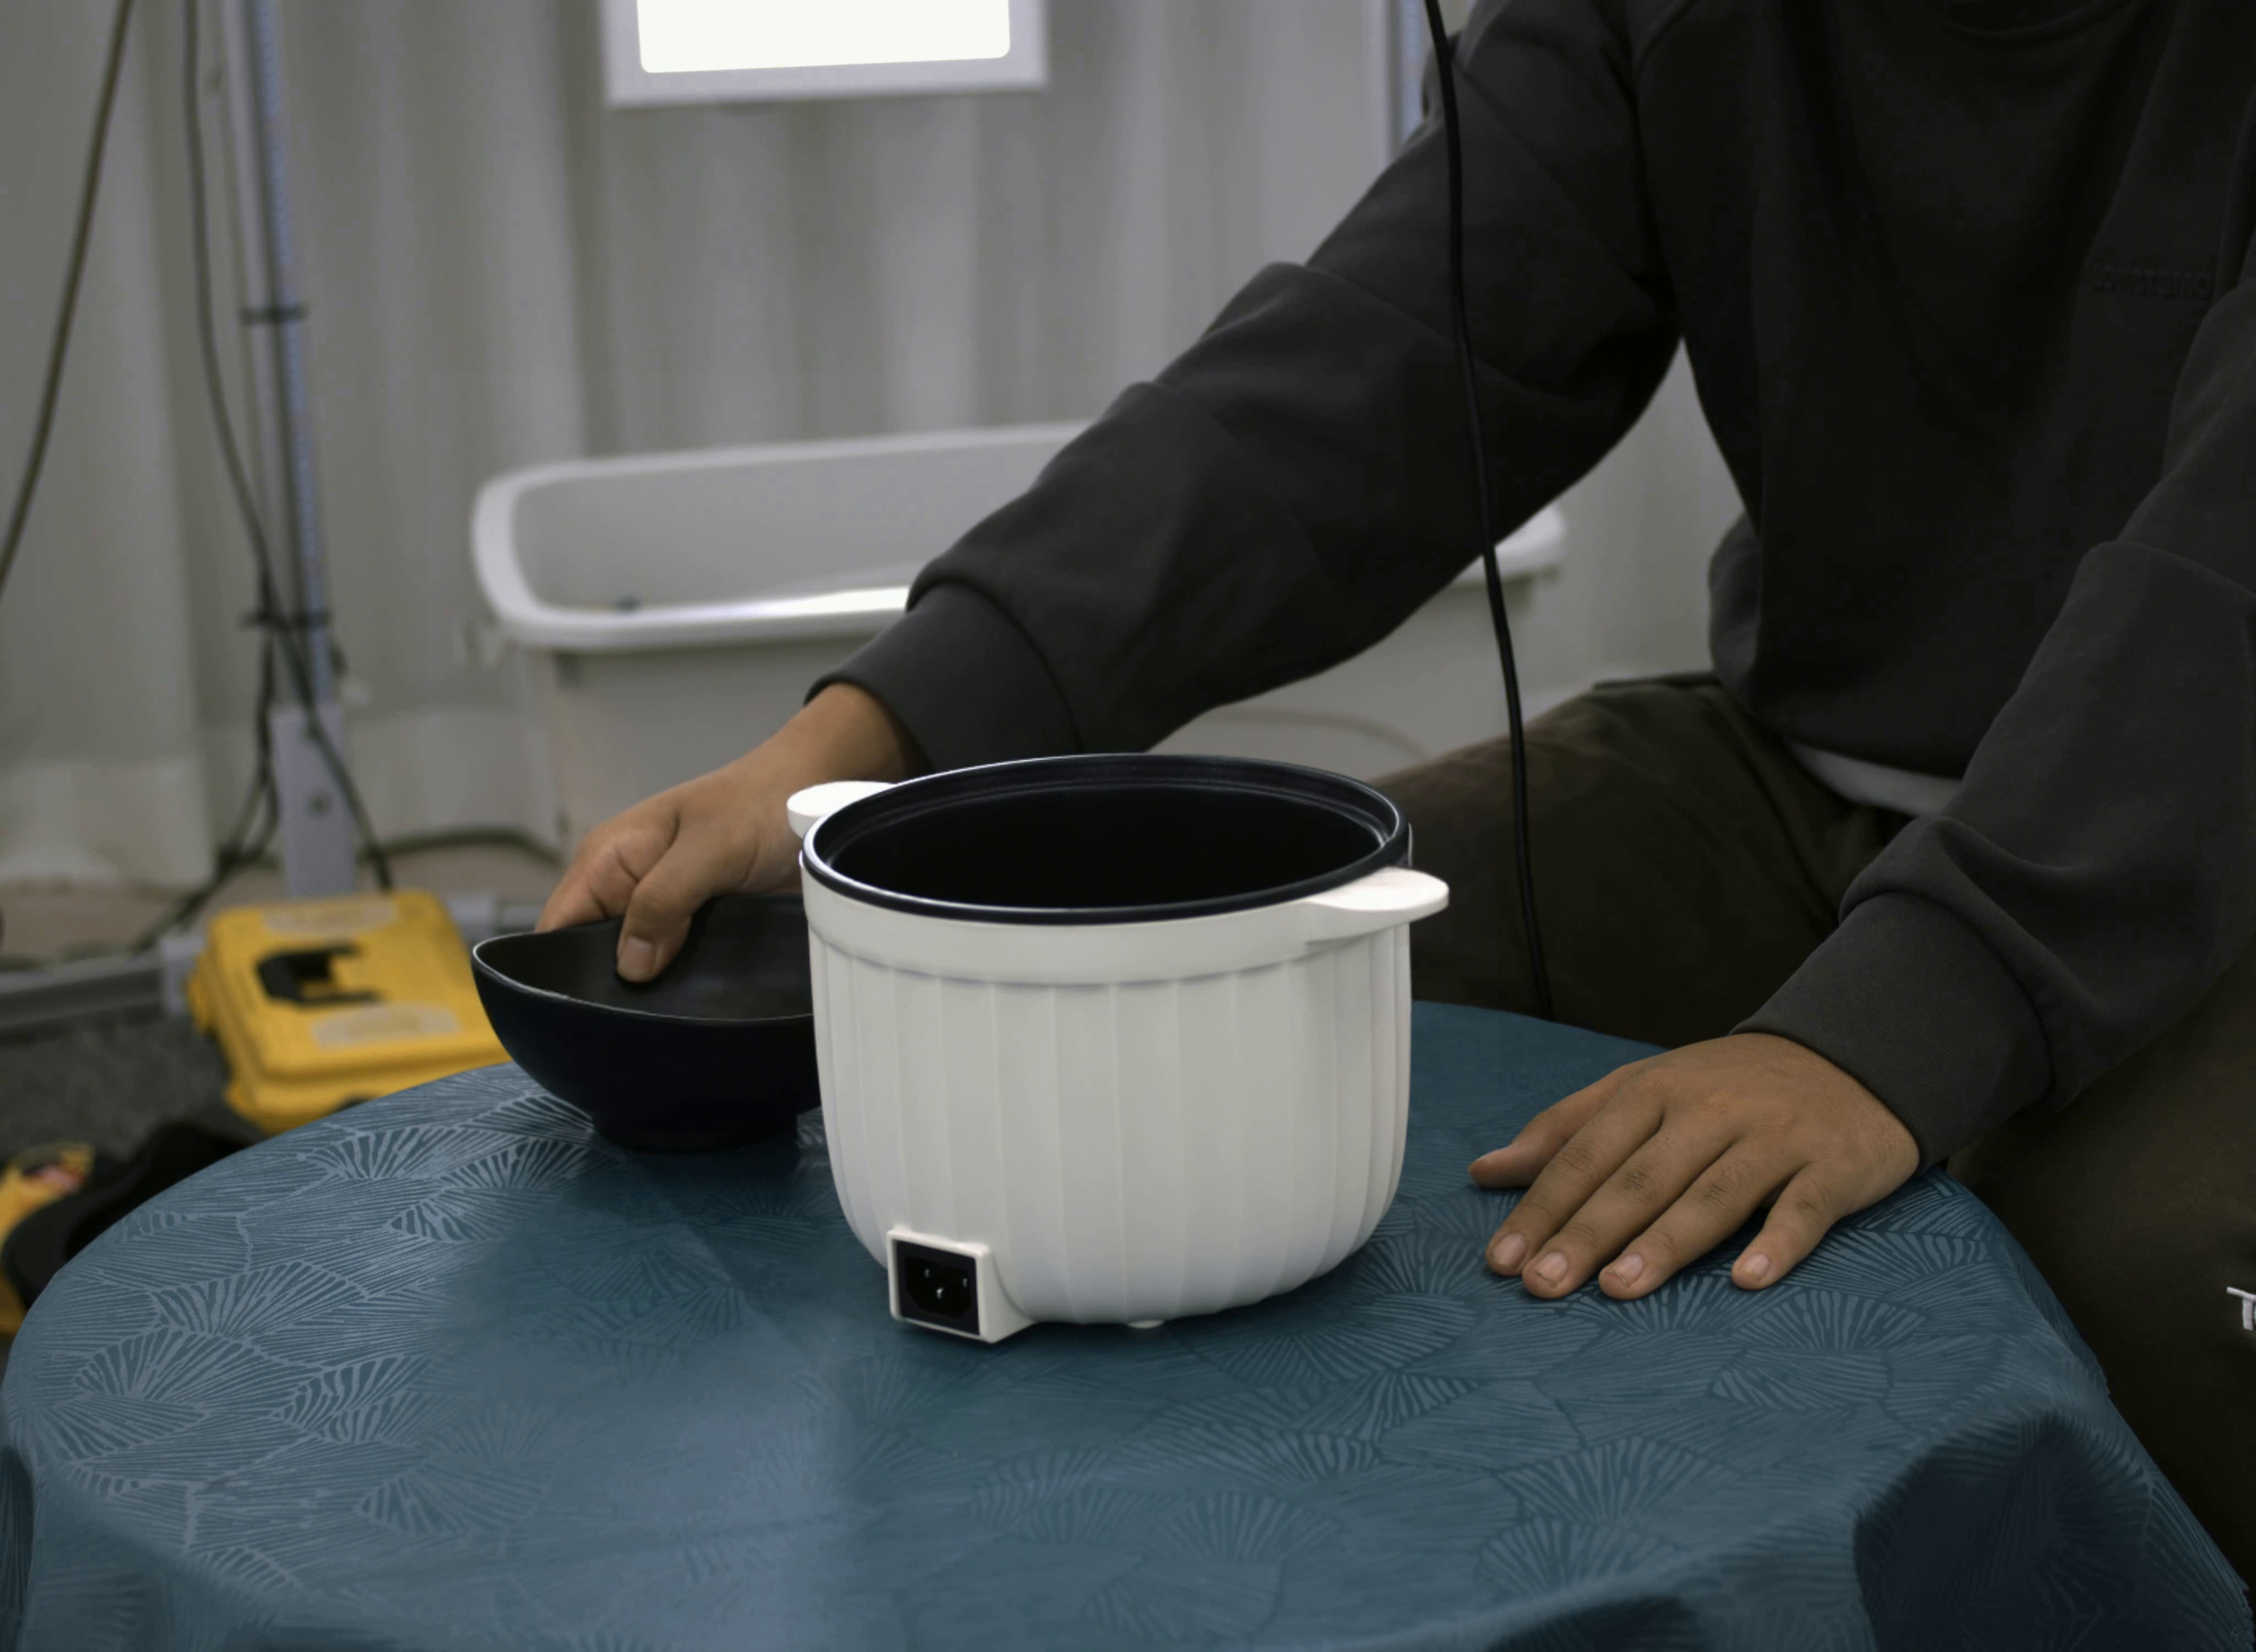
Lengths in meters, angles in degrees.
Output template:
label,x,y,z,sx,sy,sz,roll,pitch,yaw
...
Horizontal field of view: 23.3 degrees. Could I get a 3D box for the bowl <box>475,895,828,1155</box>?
label,x,y,z,sx,sy,sz,roll,pitch,yaw
bowl,-0.143,0.068,1.793,0.137,0.066,0.171,-11,15,-30

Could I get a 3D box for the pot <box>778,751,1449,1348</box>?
label,x,y,z,sx,sy,sz,roll,pitch,yaw
pot,-0.003,0.064,1.643,0.241,0.142,0.190,10,22,36
